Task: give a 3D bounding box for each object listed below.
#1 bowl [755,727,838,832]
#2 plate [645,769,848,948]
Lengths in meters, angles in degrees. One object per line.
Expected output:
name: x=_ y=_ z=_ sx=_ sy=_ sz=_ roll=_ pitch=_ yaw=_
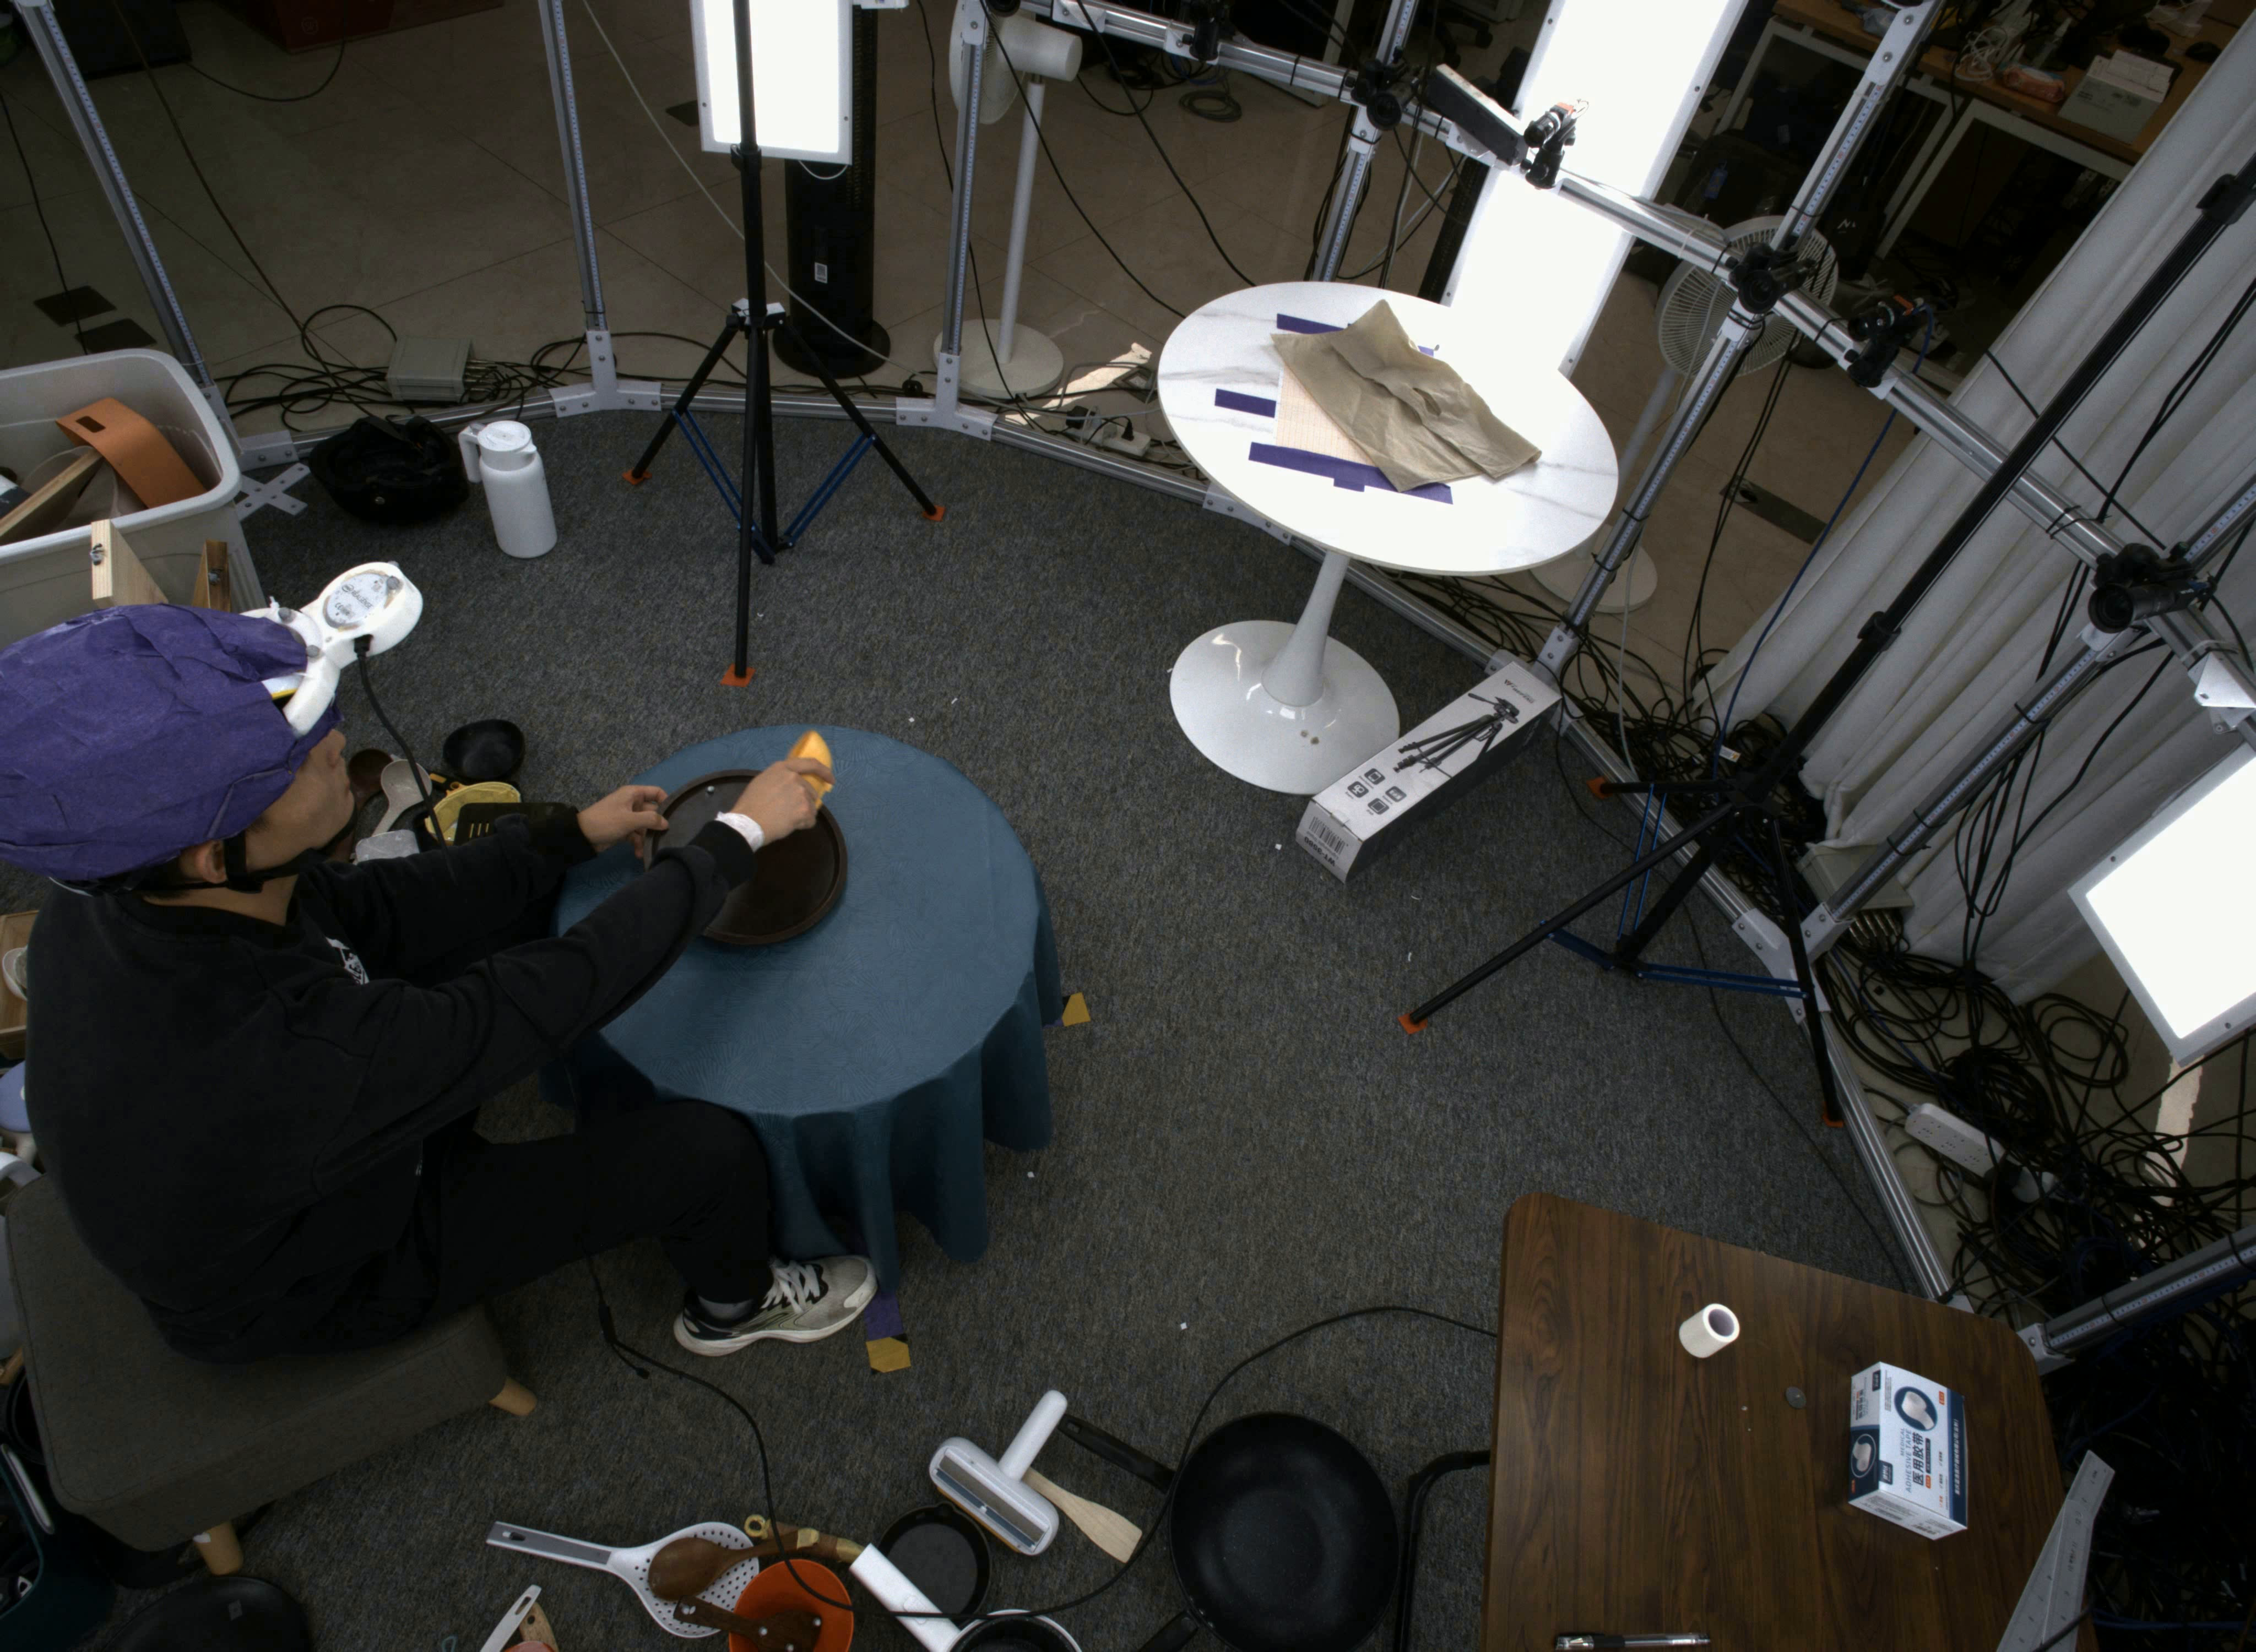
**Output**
bowl: x=-0.410 y=-0.048 z=1.640 sx=0.061 sy=0.144 sz=0.143 roll=32 pitch=48 yaw=-19
plate: x=-0.483 y=0.038 z=1.642 sx=0.257 sy=0.029 sz=0.251 roll=12 pitch=59 yaw=-19
